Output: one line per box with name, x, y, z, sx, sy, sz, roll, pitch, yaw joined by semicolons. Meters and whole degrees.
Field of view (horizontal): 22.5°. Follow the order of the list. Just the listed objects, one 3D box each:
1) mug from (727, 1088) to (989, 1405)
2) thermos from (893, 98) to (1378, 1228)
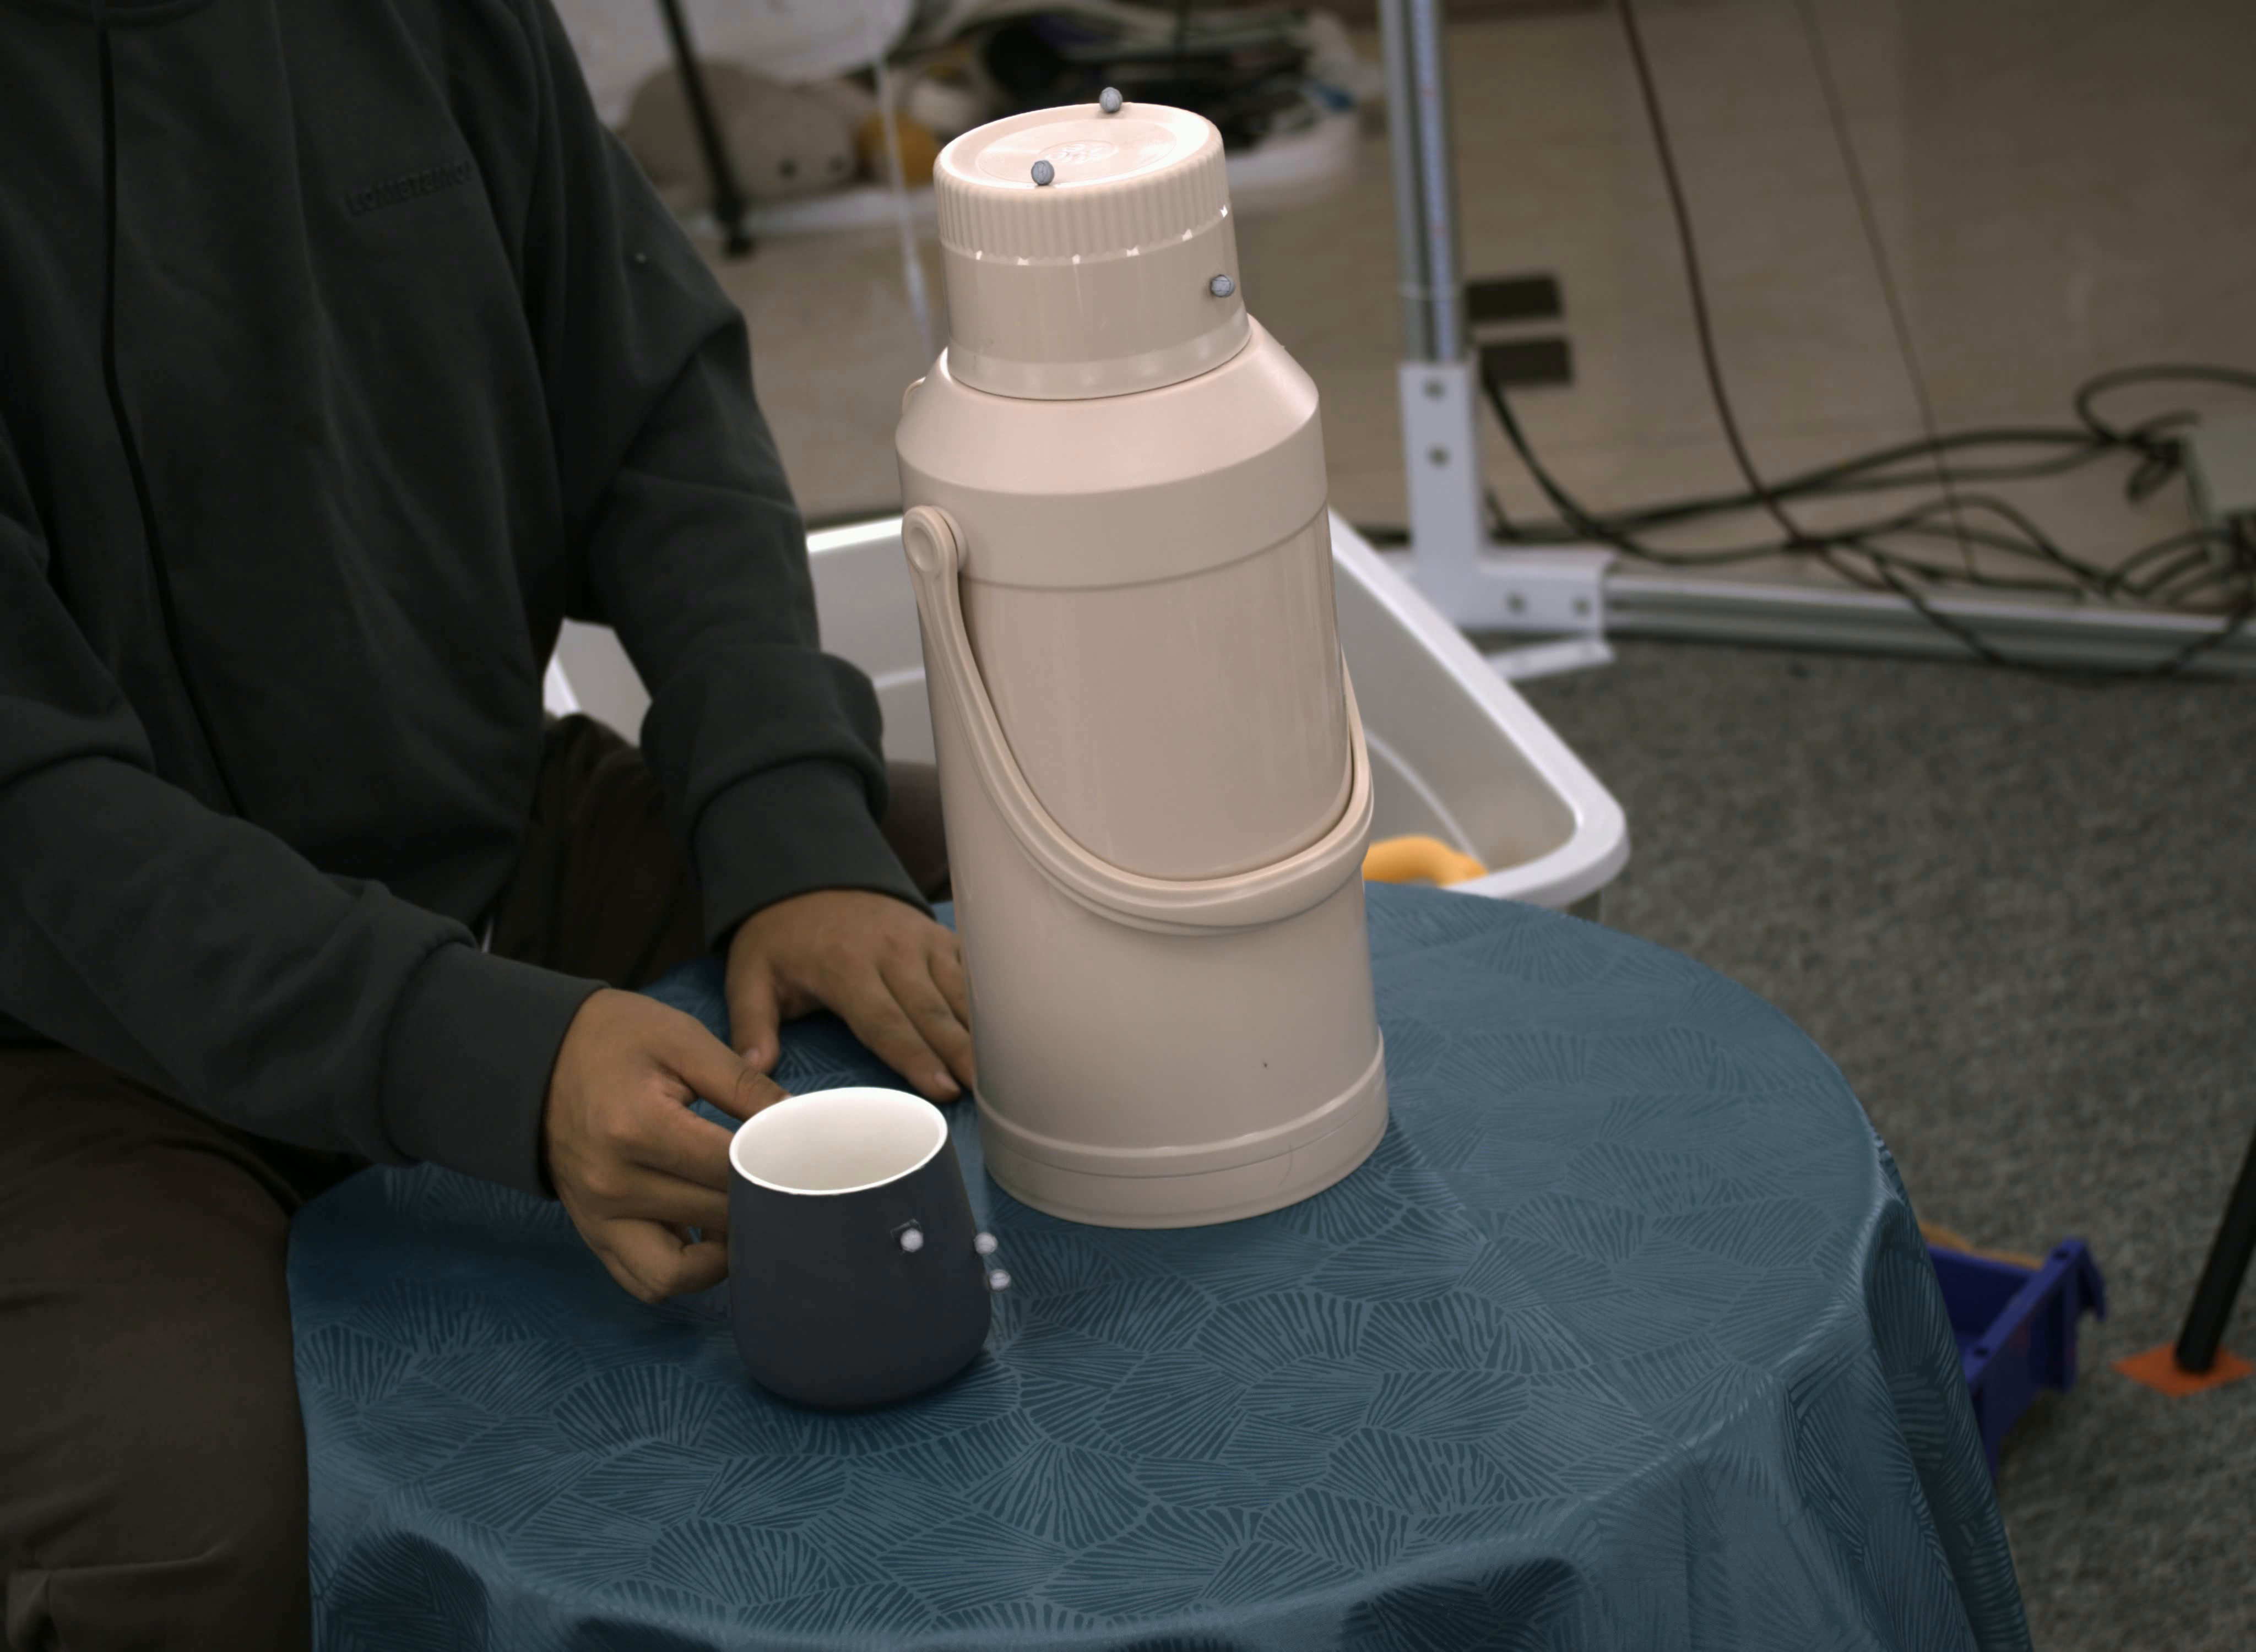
mug;-0.107;0.146;2.046;0.093;0.091;0.122;-20;29;-27
thermos;-0.007;-0.066;2.112;0.174;0.413;0.205;-24;31;-32
